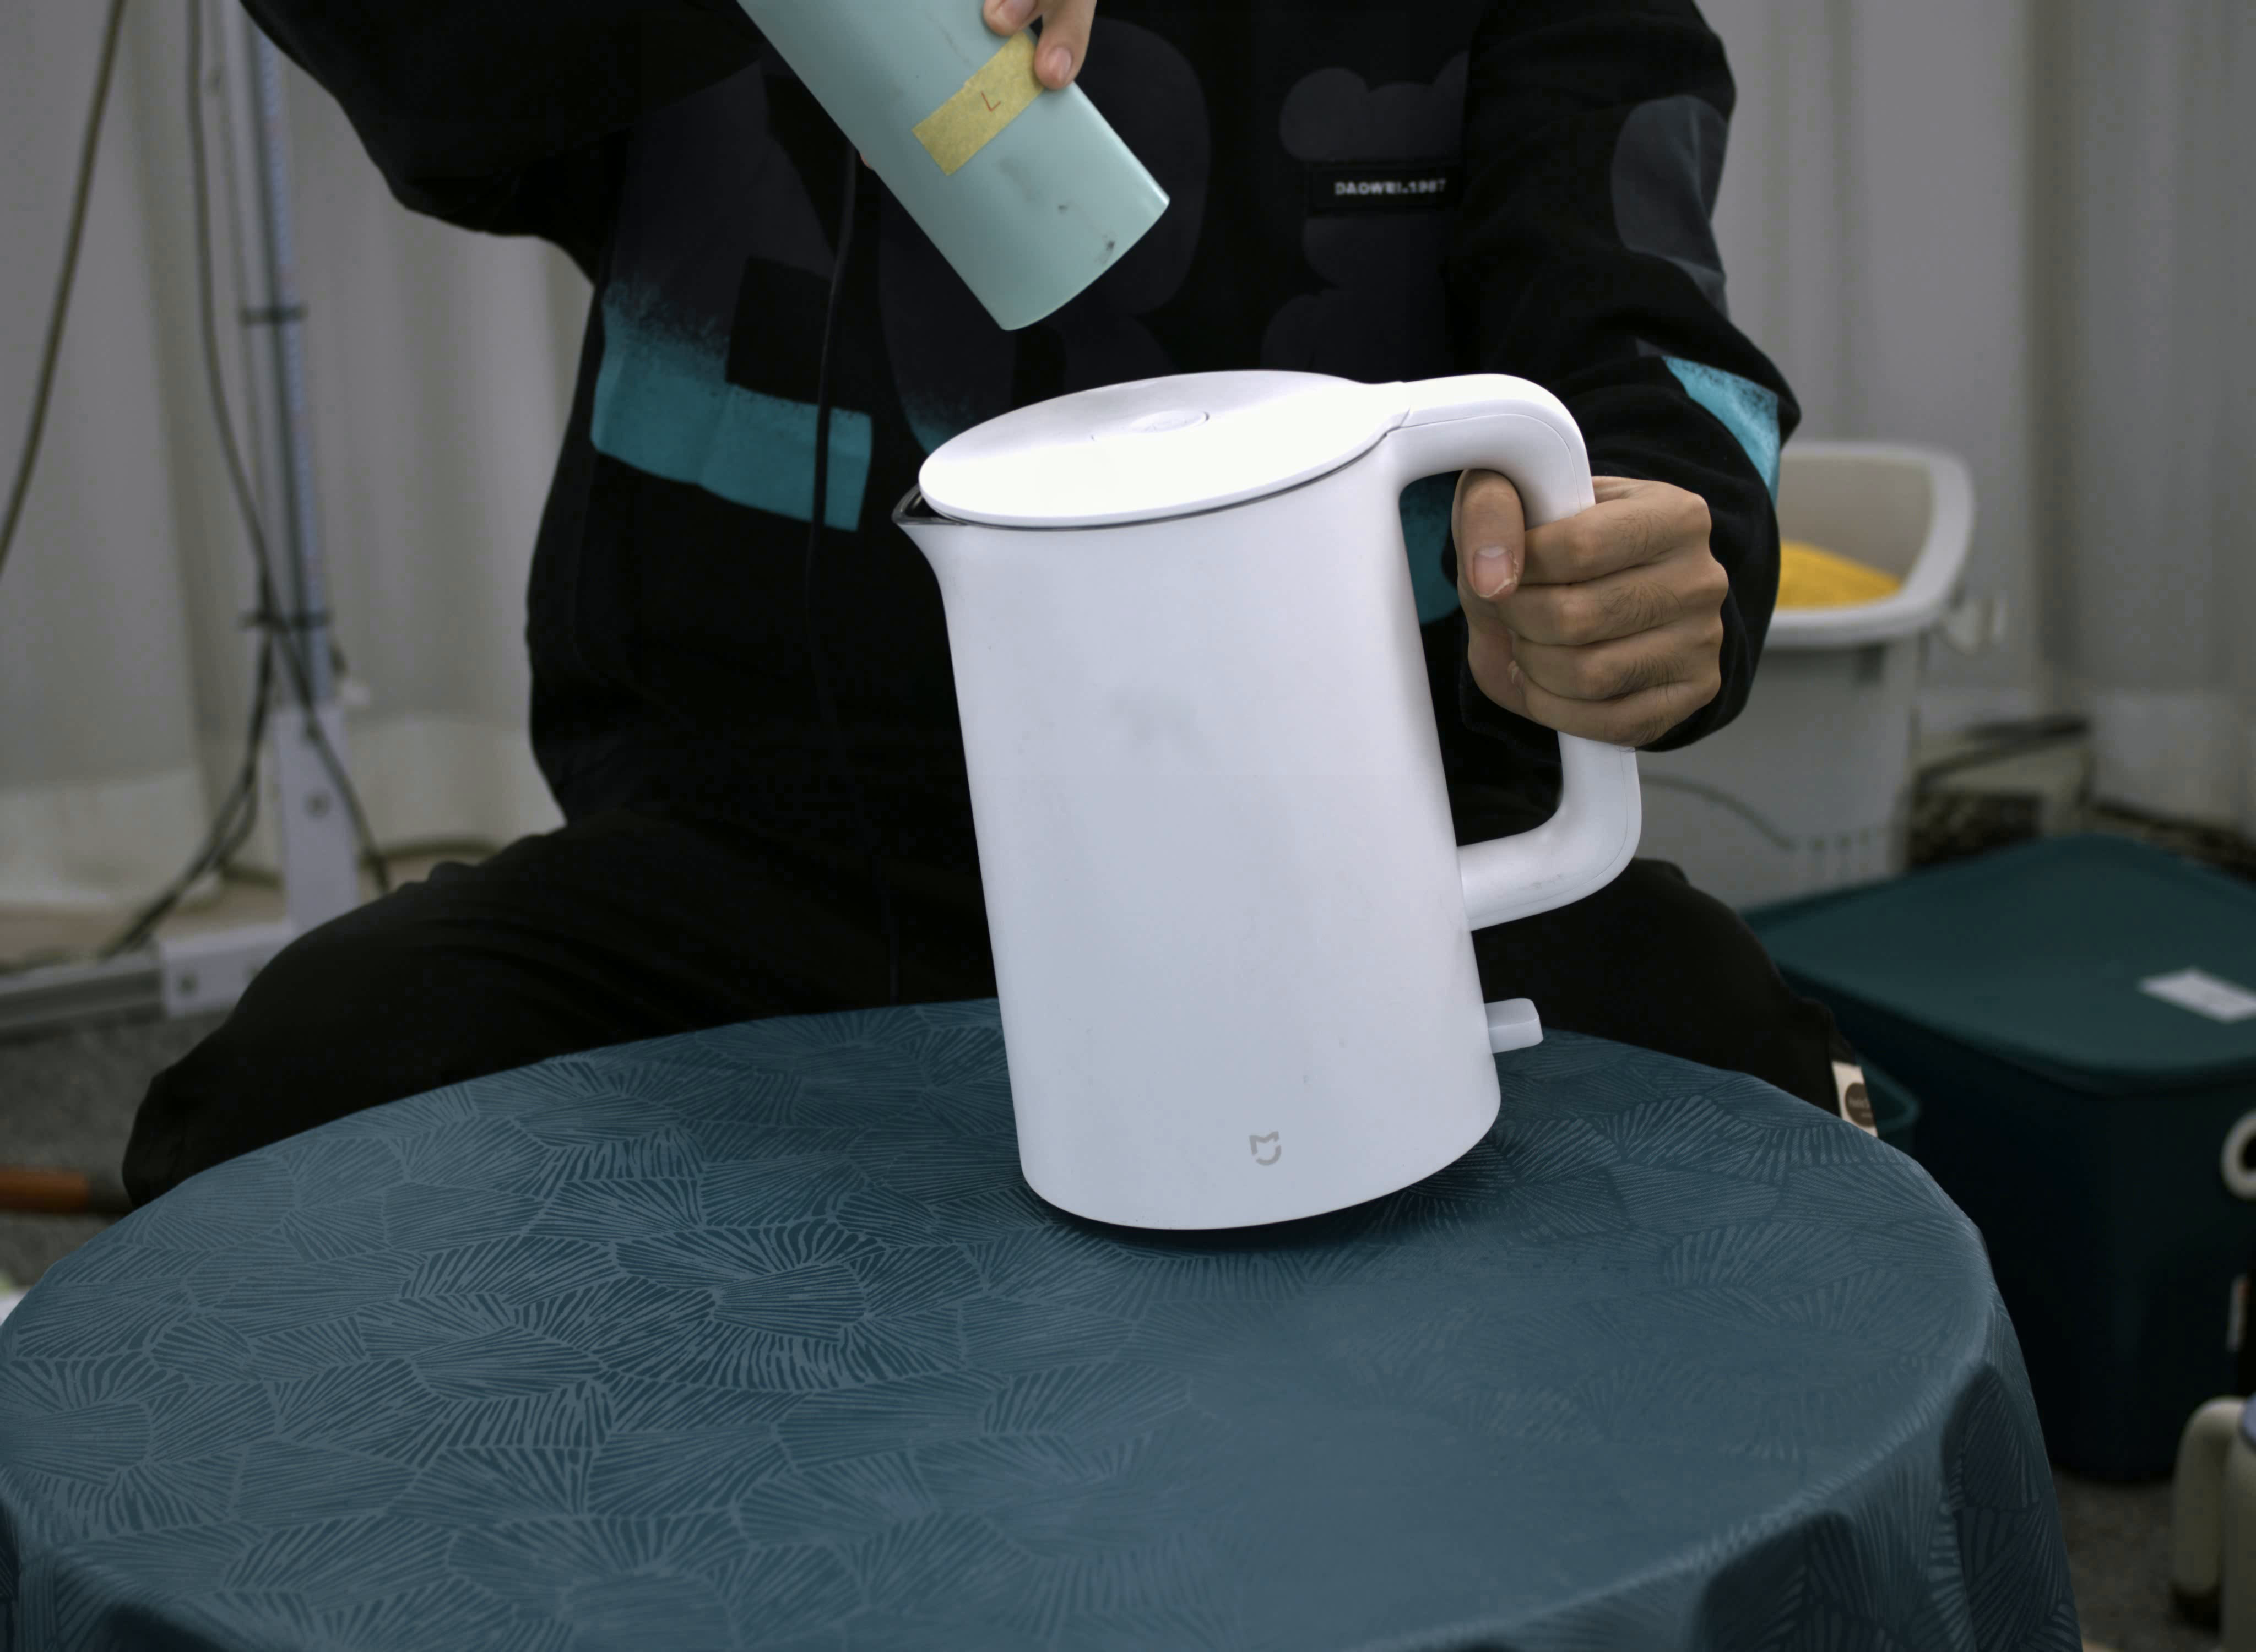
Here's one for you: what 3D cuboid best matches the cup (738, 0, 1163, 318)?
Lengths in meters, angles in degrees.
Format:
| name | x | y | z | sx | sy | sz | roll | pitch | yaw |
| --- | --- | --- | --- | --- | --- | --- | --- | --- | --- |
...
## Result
| name | x | y | z | sx | sy | sz | roll | pitch | yaw |
| --- | --- | --- | --- | --- | --- | --- | --- | --- | --- |
| cup | -0.056 | -0.221 | 1.637 | 0.066 | 0.131 | 0.067 | -38 | 13 | 11 |

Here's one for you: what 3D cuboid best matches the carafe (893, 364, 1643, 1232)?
| name | x | y | z | sx | sy | sz | roll | pitch | yaw |
| --- | --- | --- | --- | --- | --- | --- | --- | --- | --- |
| carafe | 0.050 | -0.015 | 1.683 | 0.212 | 0.238 | 0.153 | -11 | 19 | -1 |
